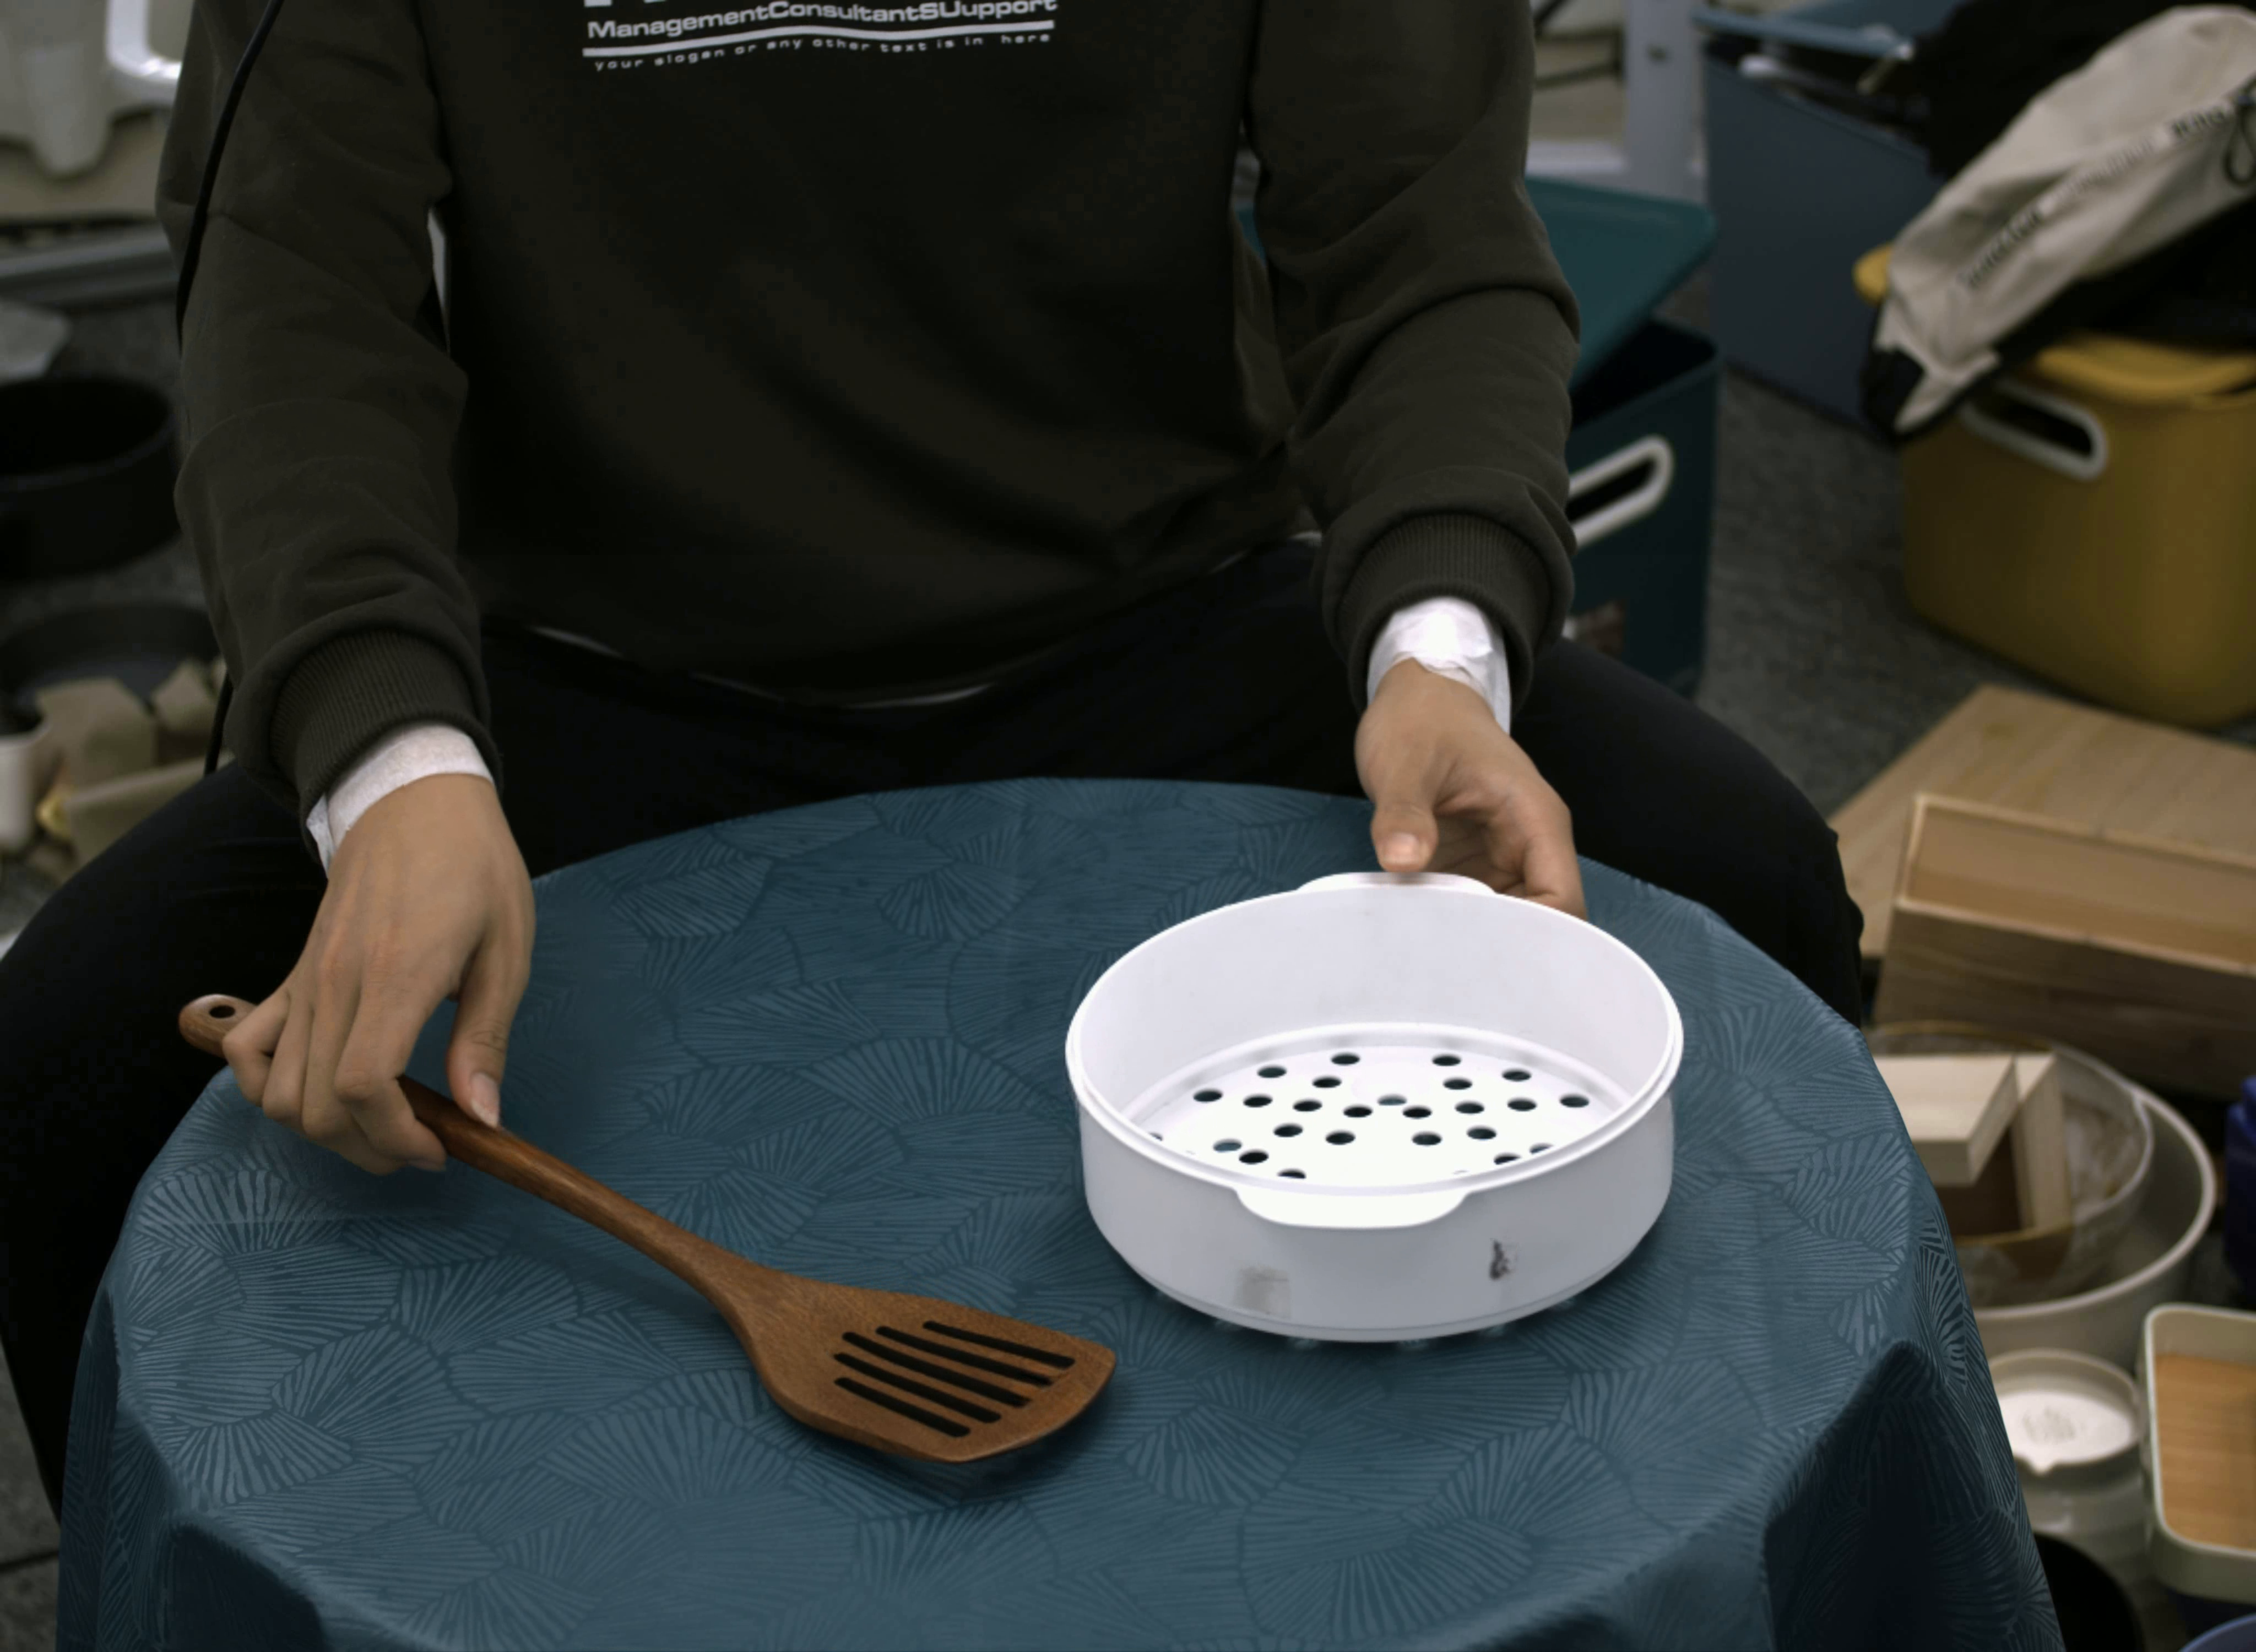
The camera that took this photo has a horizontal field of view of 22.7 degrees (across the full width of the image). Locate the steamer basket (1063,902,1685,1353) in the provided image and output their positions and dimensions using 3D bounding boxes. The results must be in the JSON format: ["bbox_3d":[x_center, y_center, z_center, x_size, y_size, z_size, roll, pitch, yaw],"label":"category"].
[{"bbox_3d":[0.079,0.099,1.831,0.201,0.068,0.234,3,24,6],"label":"steamer basket"}]

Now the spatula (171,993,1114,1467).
[{"bbox_3d":[-0.174,0.127,1.822,0.384,0.023,0.087,23,33,31],"label":"spatula"}]
